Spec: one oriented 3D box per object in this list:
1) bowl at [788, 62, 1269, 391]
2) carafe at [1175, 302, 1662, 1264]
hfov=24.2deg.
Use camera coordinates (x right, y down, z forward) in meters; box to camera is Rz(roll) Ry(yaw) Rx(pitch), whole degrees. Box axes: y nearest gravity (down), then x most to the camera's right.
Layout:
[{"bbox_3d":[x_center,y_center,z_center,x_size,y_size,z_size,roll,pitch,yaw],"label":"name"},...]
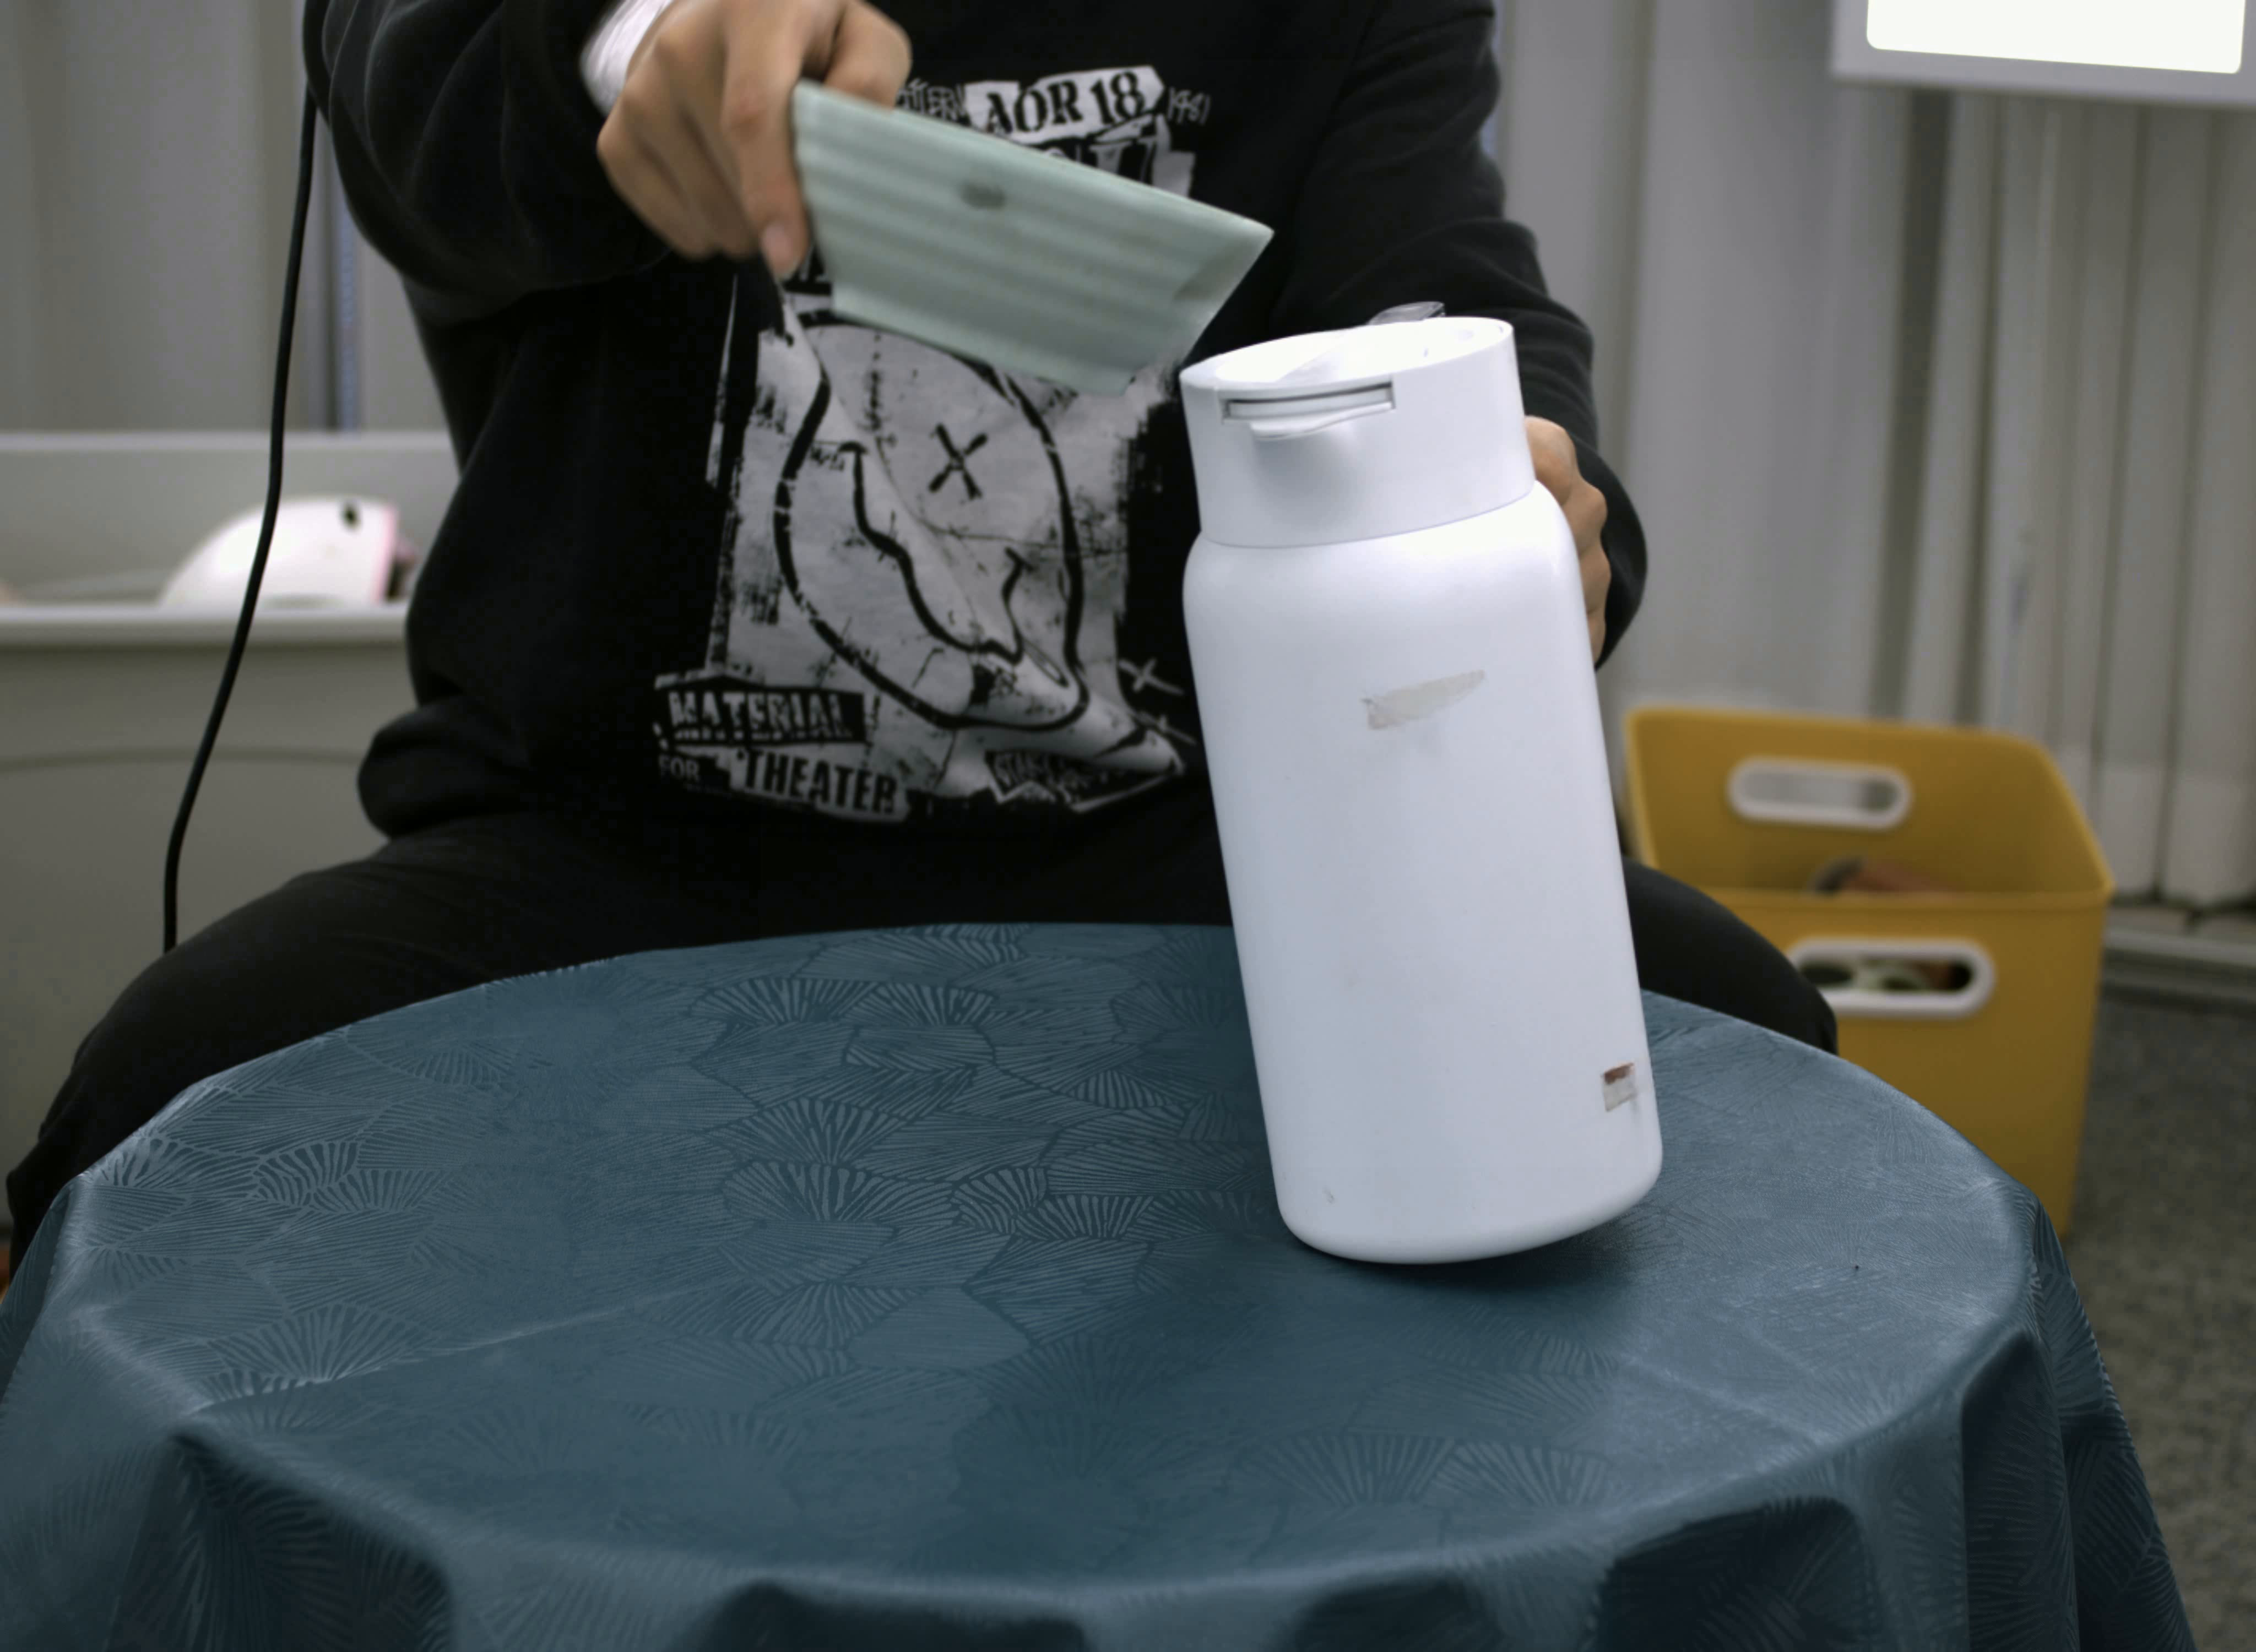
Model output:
[{"bbox_3d":[-0.035,-0.162,1.462,0.151,0.059,0.151,19,6,-2],"label":"bowl"},{"bbox_3d":[0.087,-0.017,1.571,0.123,0.271,0.173,-7,14,20],"label":"carafe"}]
